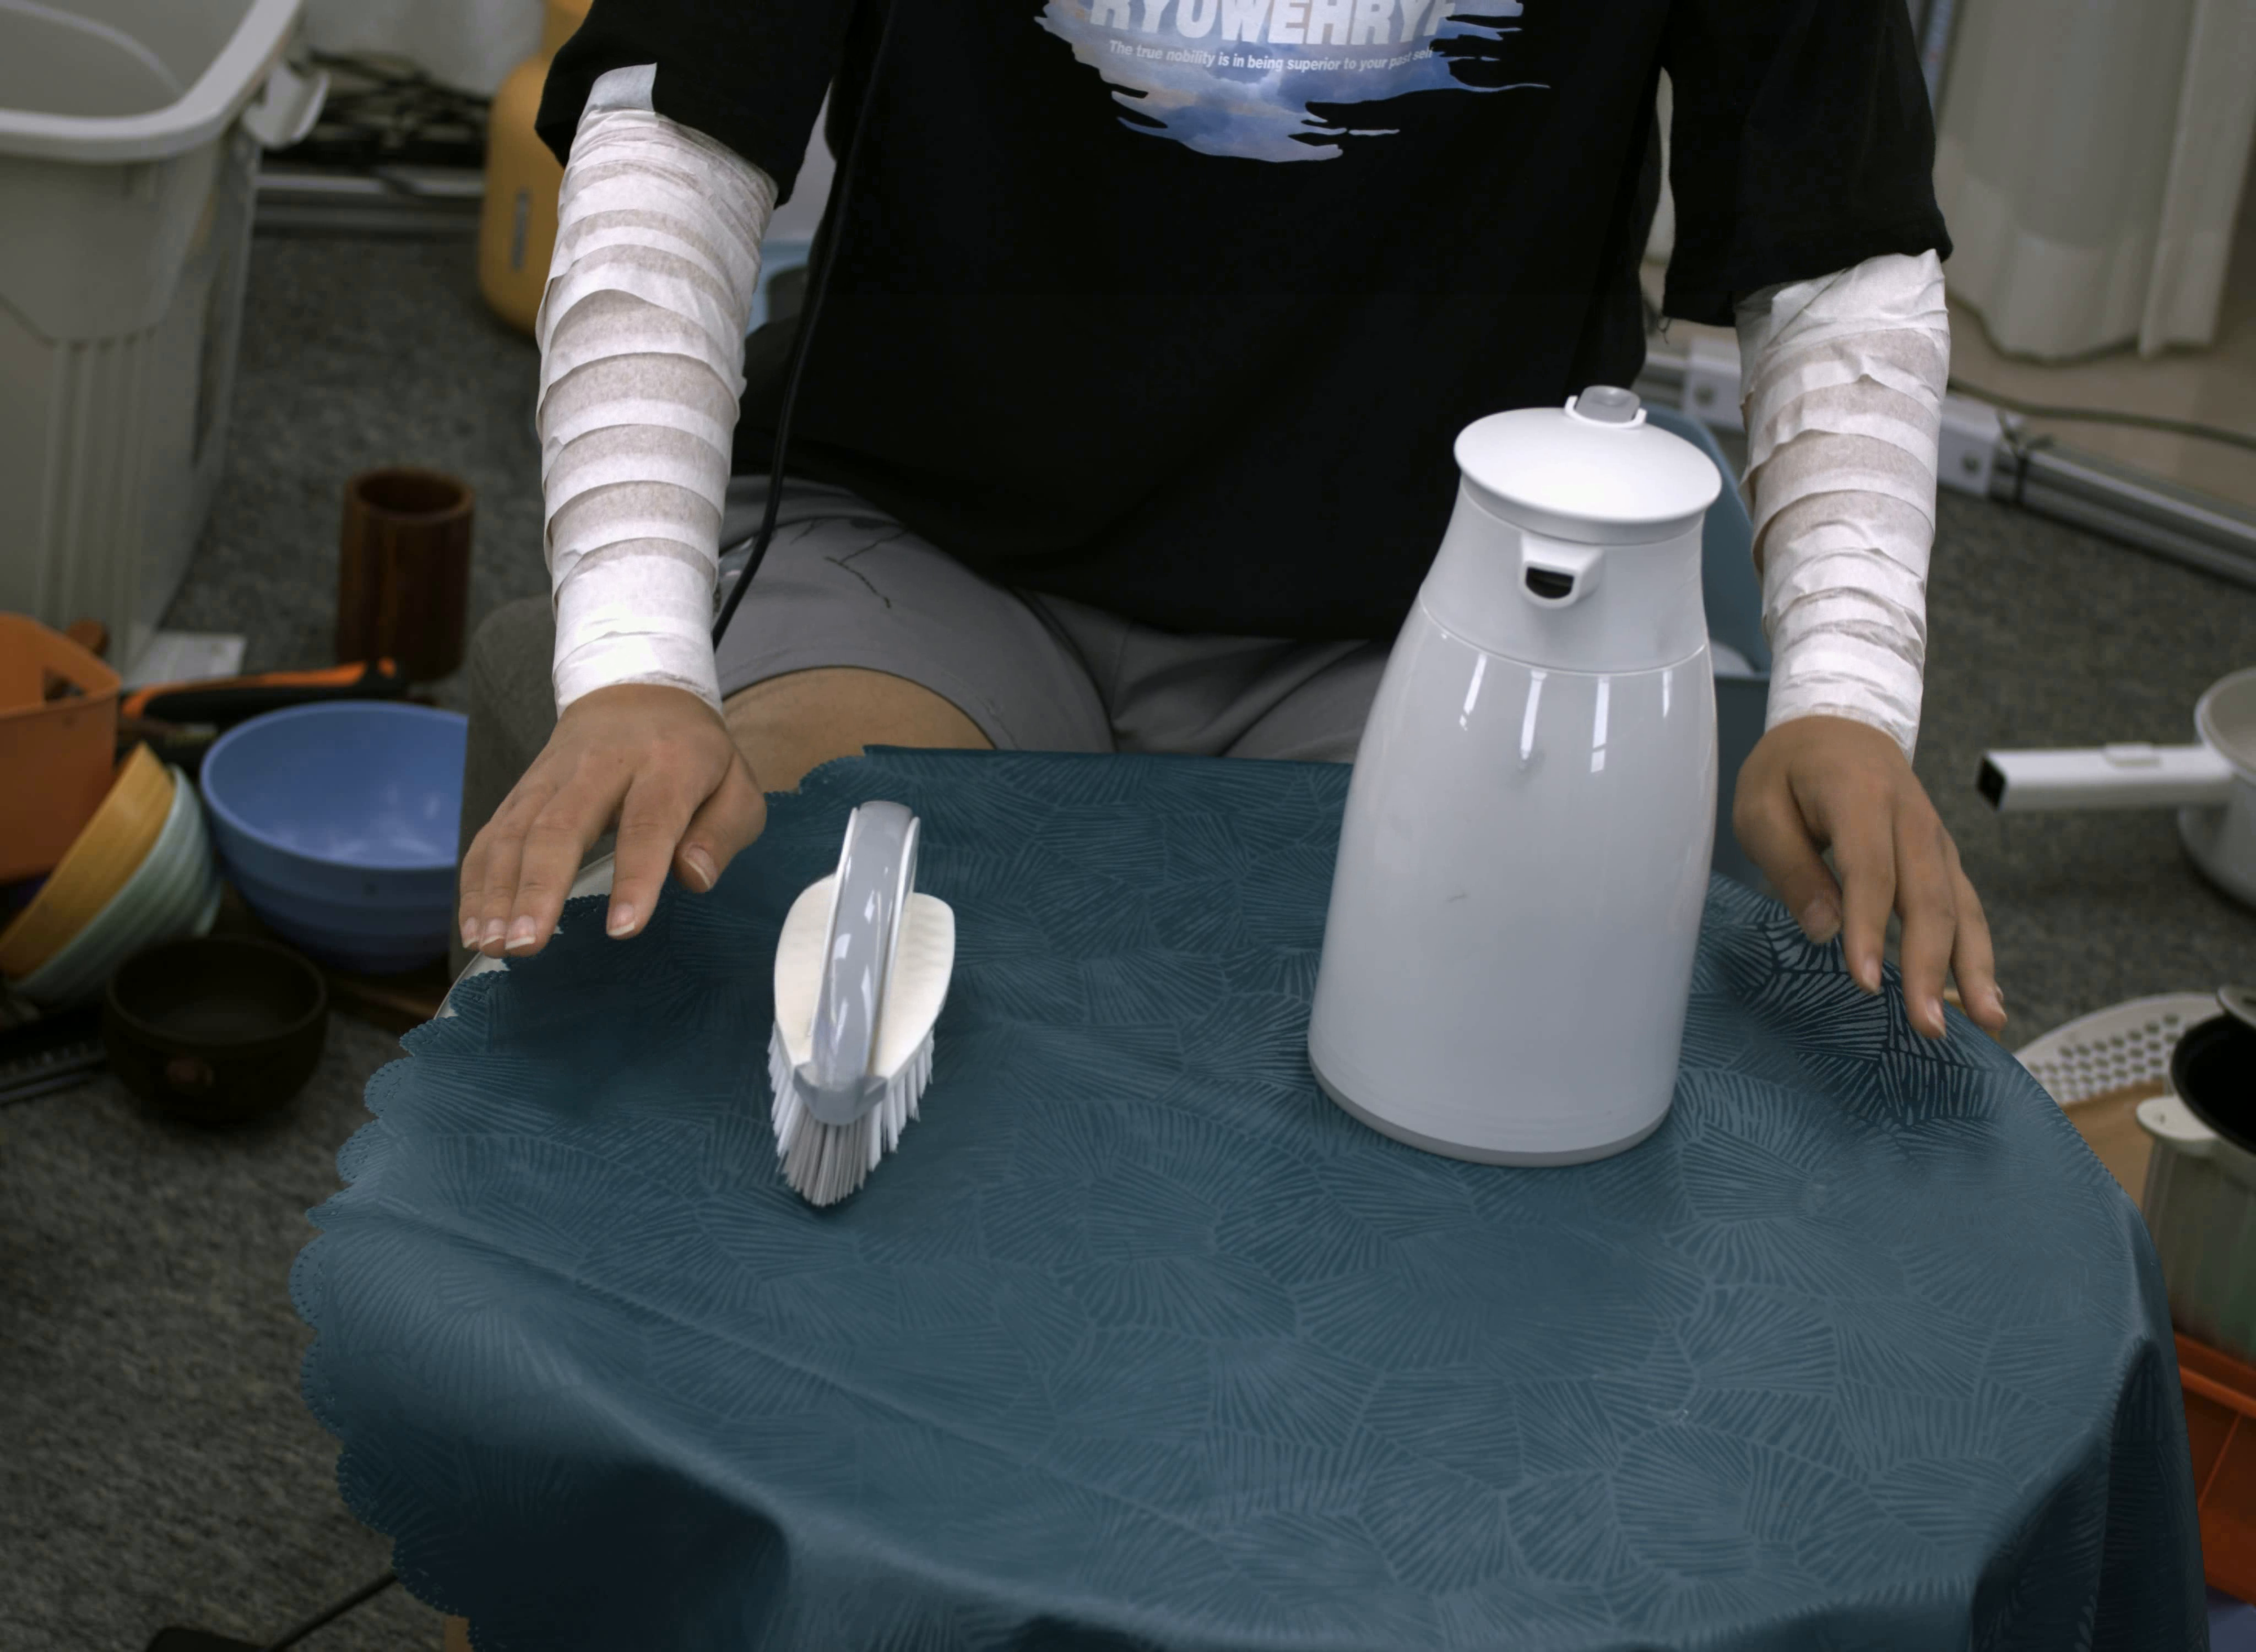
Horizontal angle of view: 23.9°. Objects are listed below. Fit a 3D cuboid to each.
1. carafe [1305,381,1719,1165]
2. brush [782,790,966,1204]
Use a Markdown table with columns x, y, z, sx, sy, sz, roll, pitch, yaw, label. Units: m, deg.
| x | y | z | sx | sy | sz | roll | pitch | yaw | label |
| --- | --- | --- | --- | --- | --- | --- | --- | --- | --- |
| 0.145 | -0.029 | 1.866 | 0.132 | 0.248 | 0.168 | 11 | 26 | 9 | carafe |
| -0.090 | 0.051 | 1.826 | 0.061 | 0.094 | 0.176 | 5 | 27 | 2 | brush |
